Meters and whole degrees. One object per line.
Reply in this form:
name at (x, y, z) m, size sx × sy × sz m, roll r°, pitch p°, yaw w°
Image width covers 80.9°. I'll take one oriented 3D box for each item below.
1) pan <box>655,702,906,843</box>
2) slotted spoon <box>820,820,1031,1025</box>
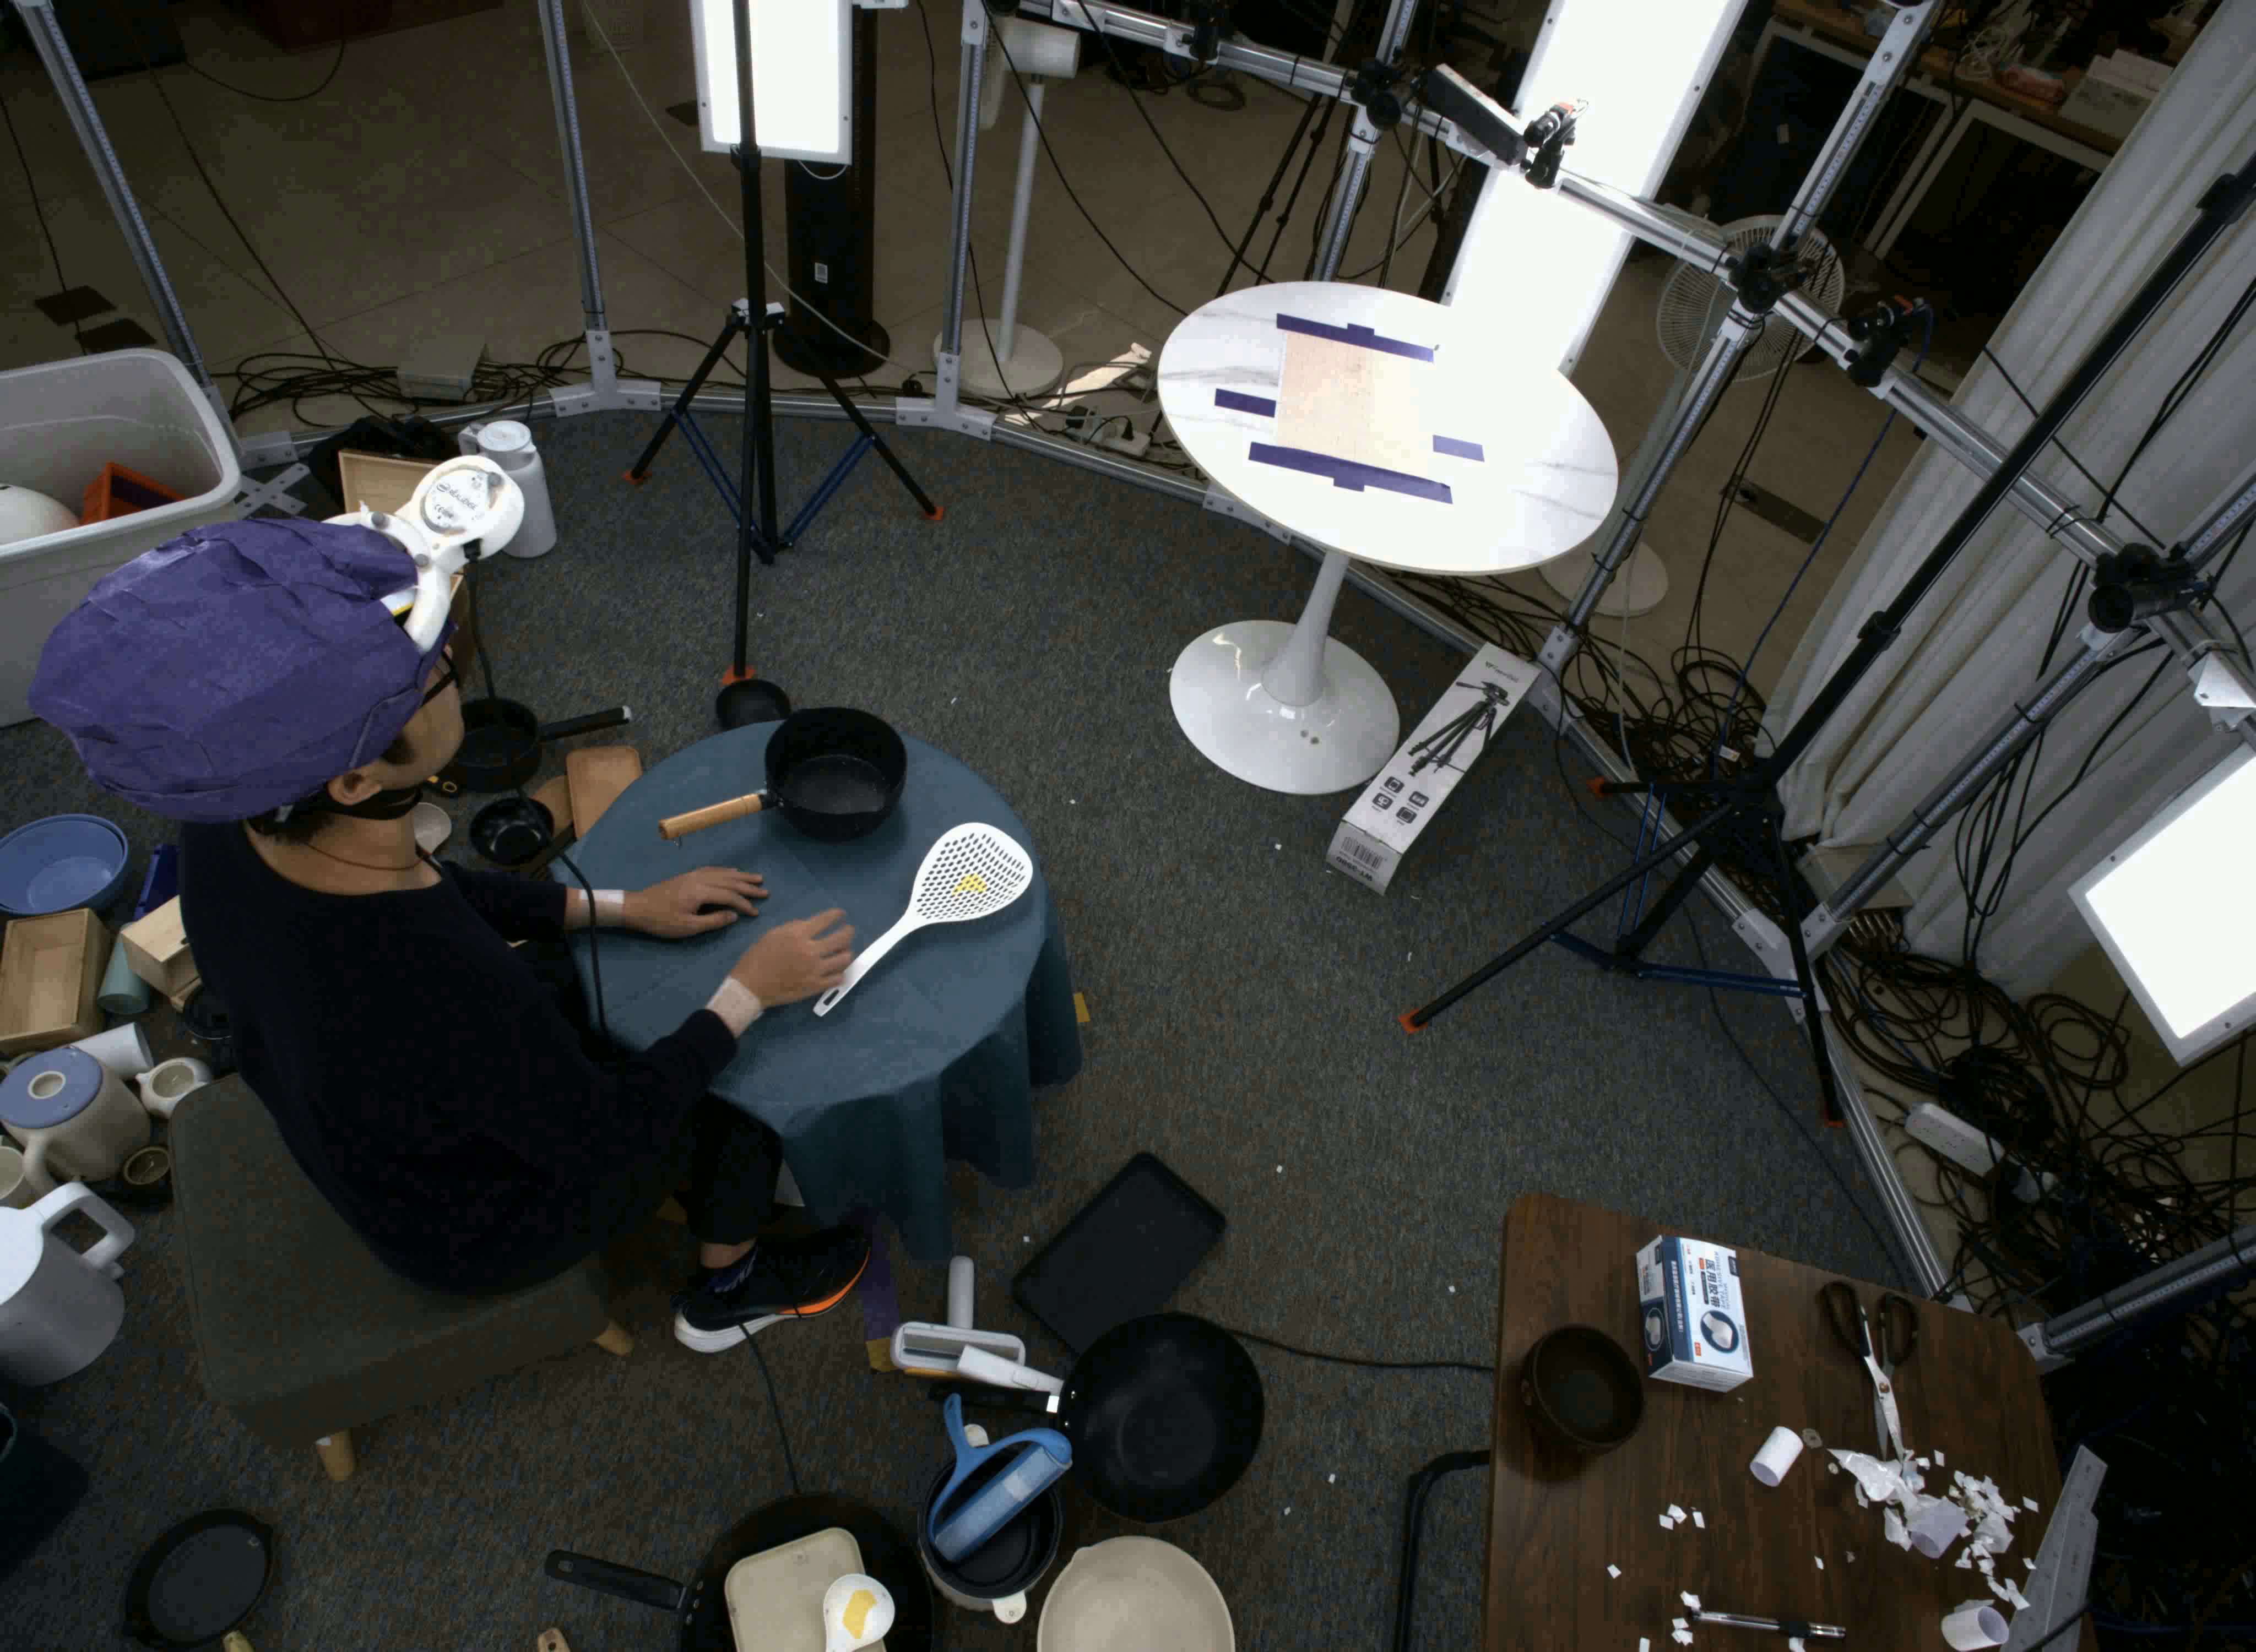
pan at (-0.445, -0.038, 1.667) m, size 0.344 × 0.110 × 0.203 m, roll -30°, pitch 66°, yaw -33°
slotted spoon at (-0.264, 0.120, 1.639) m, size 0.134 × 0.051 × 0.348 m, roll 38°, pitch 52°, yaw 13°
